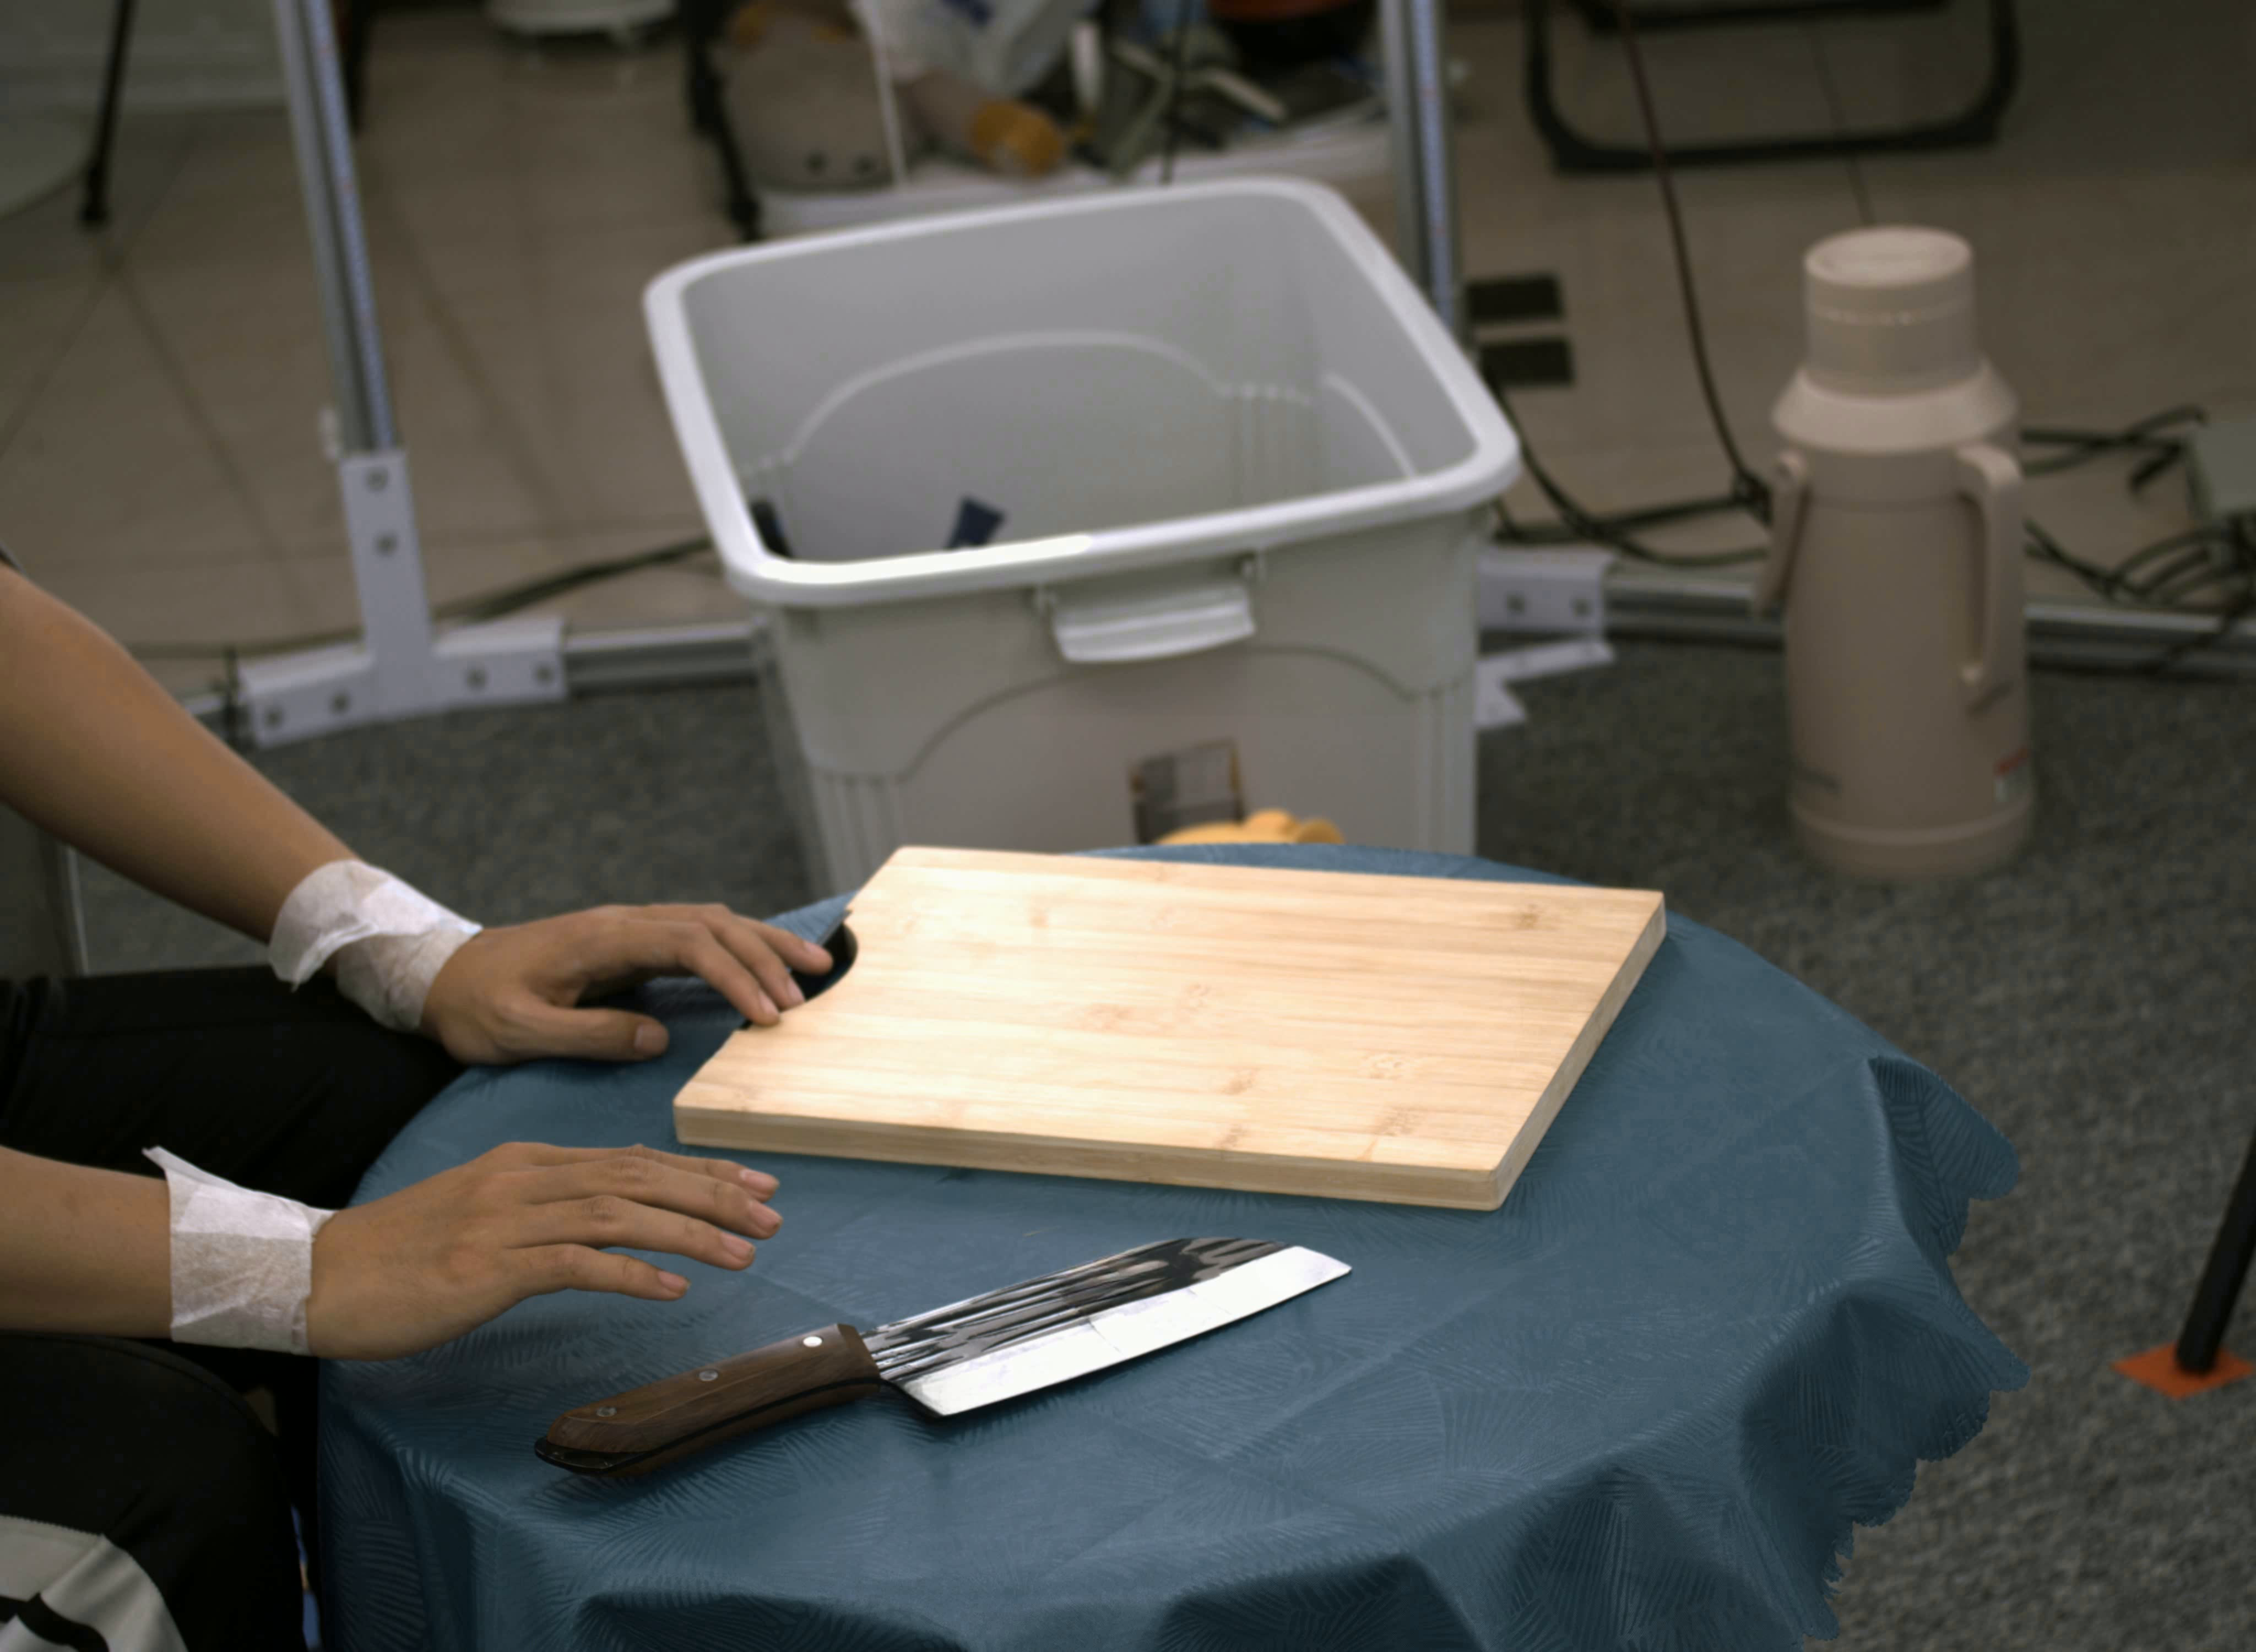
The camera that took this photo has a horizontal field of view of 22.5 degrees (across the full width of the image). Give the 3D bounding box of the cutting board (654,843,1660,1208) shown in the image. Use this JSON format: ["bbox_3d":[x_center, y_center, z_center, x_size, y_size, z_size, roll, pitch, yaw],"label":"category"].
[{"bbox_3d":[0.015,0.075,2.265,0.348,0.024,0.247,3,26,20],"label":"cutting board"}]

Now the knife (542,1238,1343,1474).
[{"bbox_3d":[-0.063,0.189,2.035,0.298,0.024,0.067,-15,28,-24],"label":"knife"}]
